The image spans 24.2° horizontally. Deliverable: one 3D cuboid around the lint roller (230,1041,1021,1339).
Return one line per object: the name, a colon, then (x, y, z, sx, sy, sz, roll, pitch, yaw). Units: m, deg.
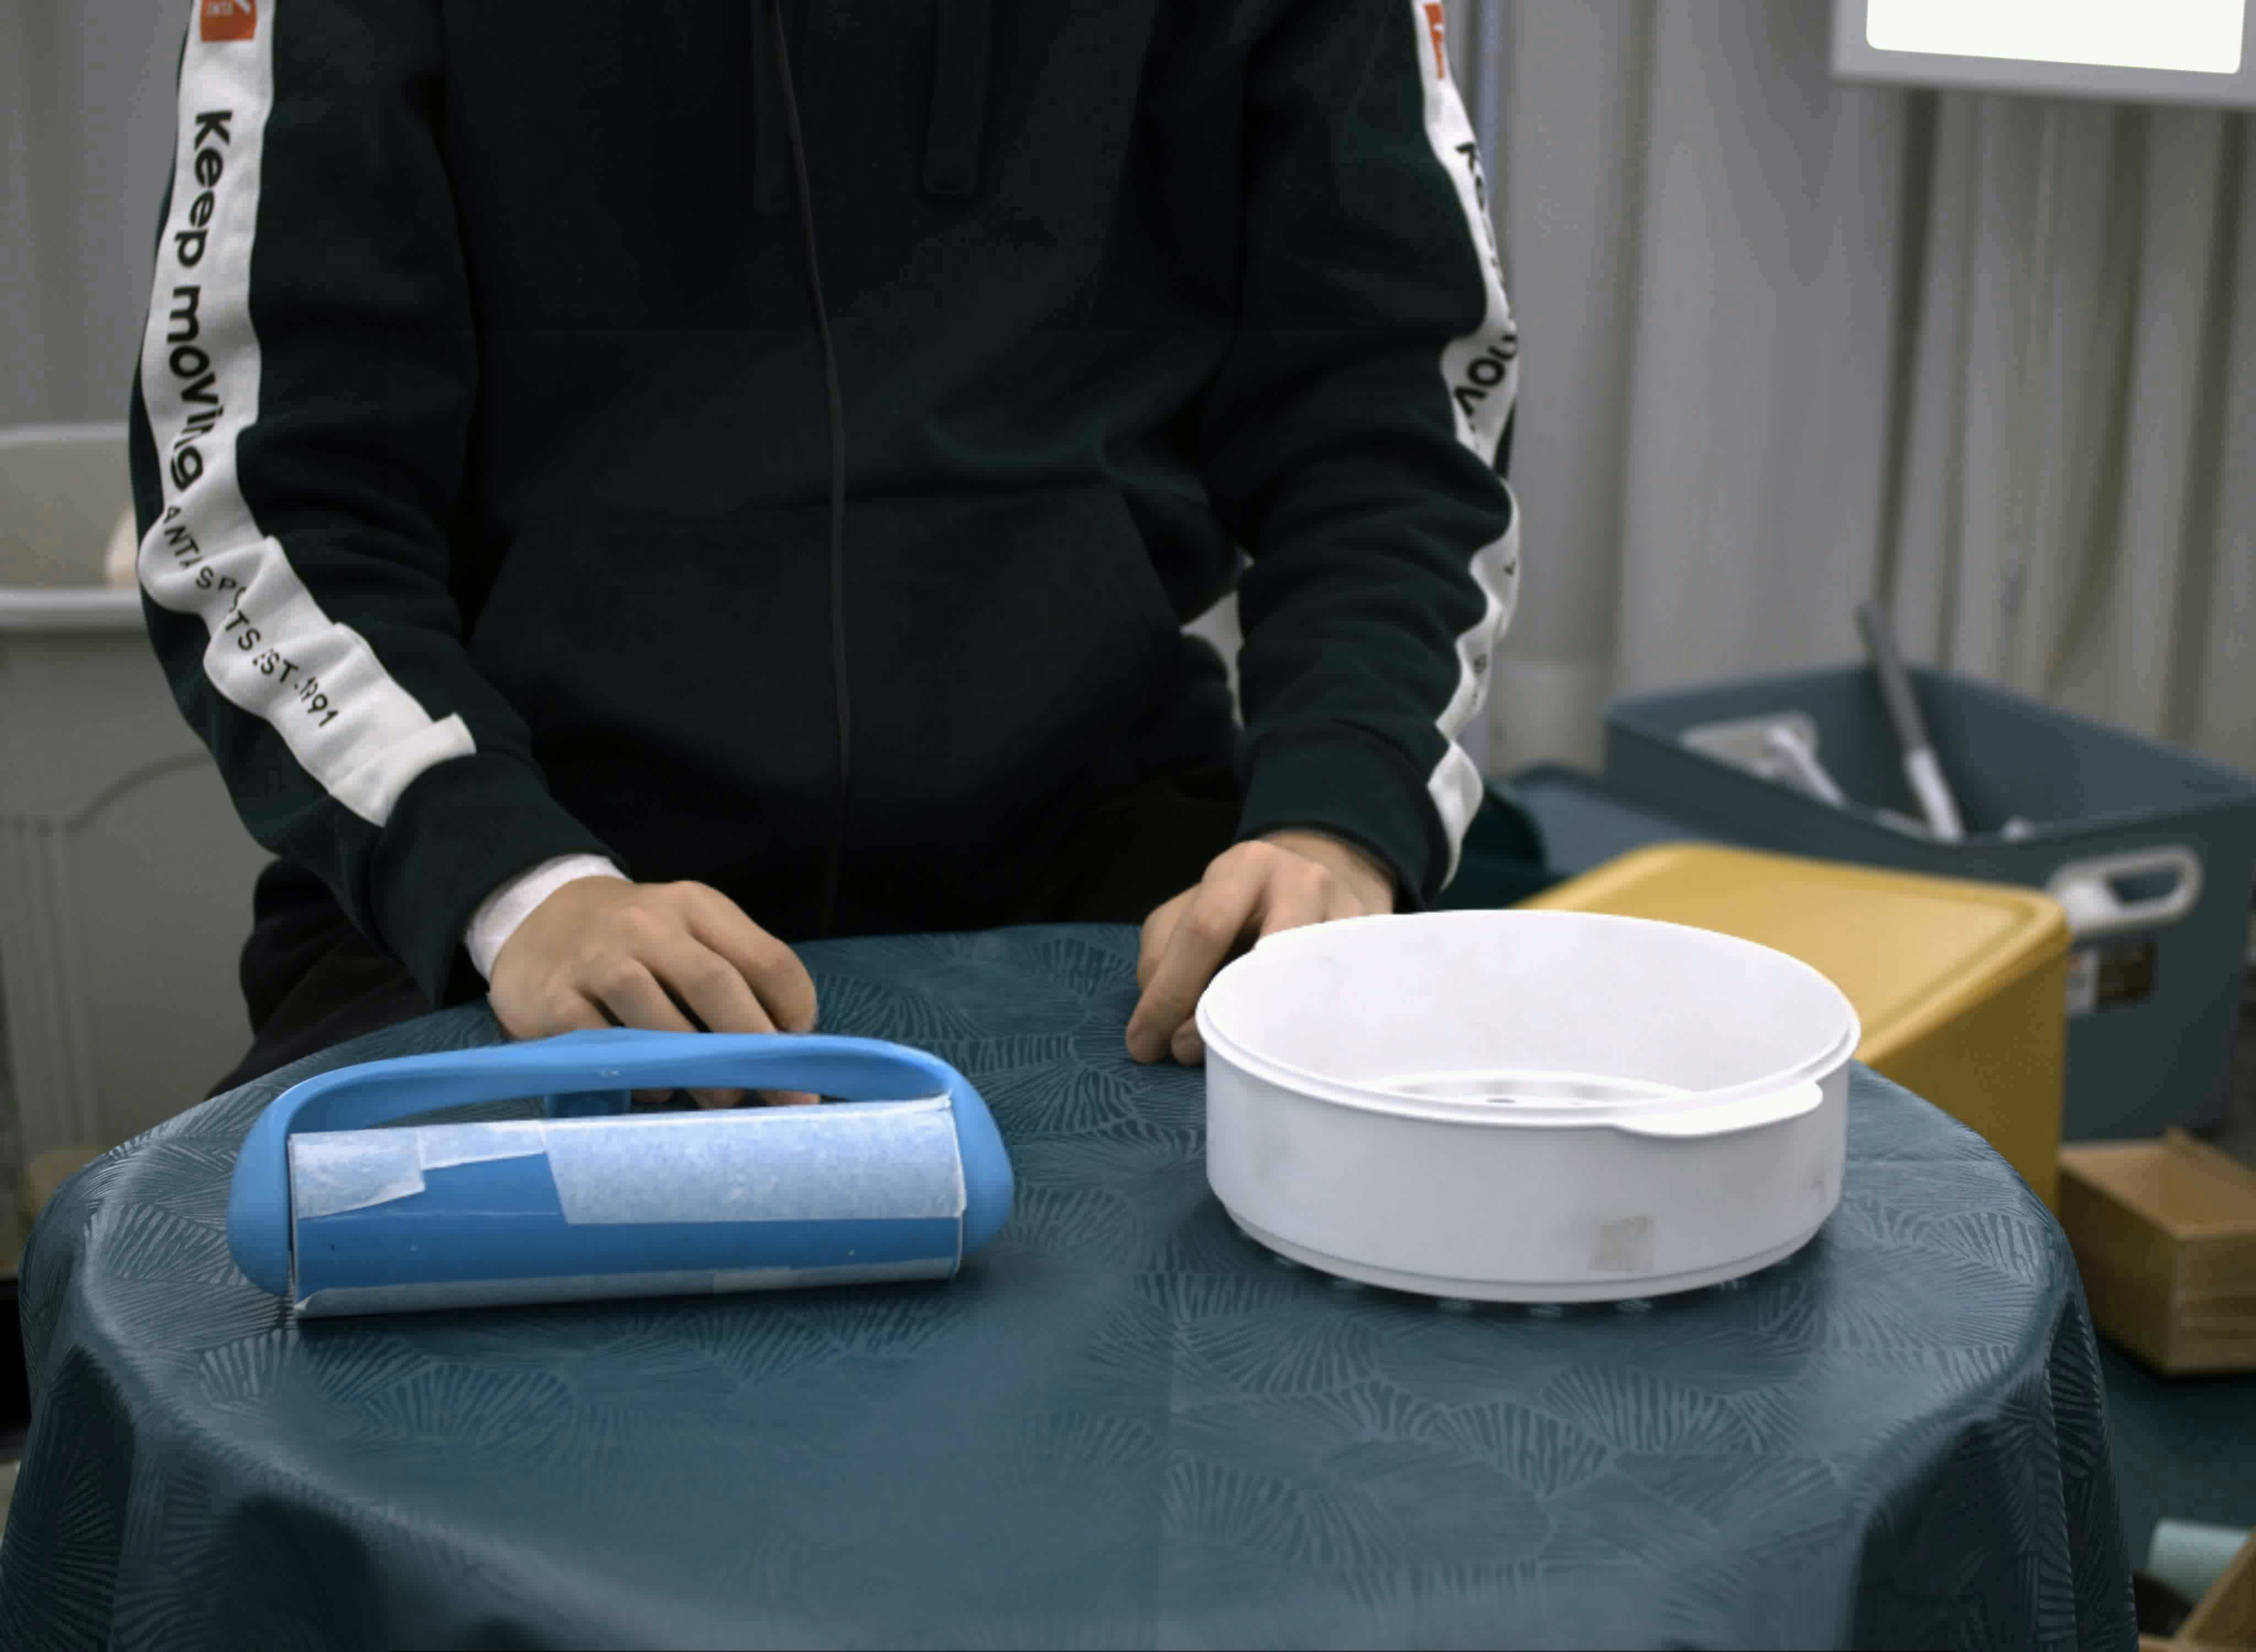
lint roller: (-0.158, 0.095, 1.574, 0.229, 0.068, 0.178, -6, 18, -14)

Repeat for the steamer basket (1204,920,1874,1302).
steamer basket: (0.123, 0.085, 1.591, 0.203, 0.070, 0.227, -8, 17, -30)
